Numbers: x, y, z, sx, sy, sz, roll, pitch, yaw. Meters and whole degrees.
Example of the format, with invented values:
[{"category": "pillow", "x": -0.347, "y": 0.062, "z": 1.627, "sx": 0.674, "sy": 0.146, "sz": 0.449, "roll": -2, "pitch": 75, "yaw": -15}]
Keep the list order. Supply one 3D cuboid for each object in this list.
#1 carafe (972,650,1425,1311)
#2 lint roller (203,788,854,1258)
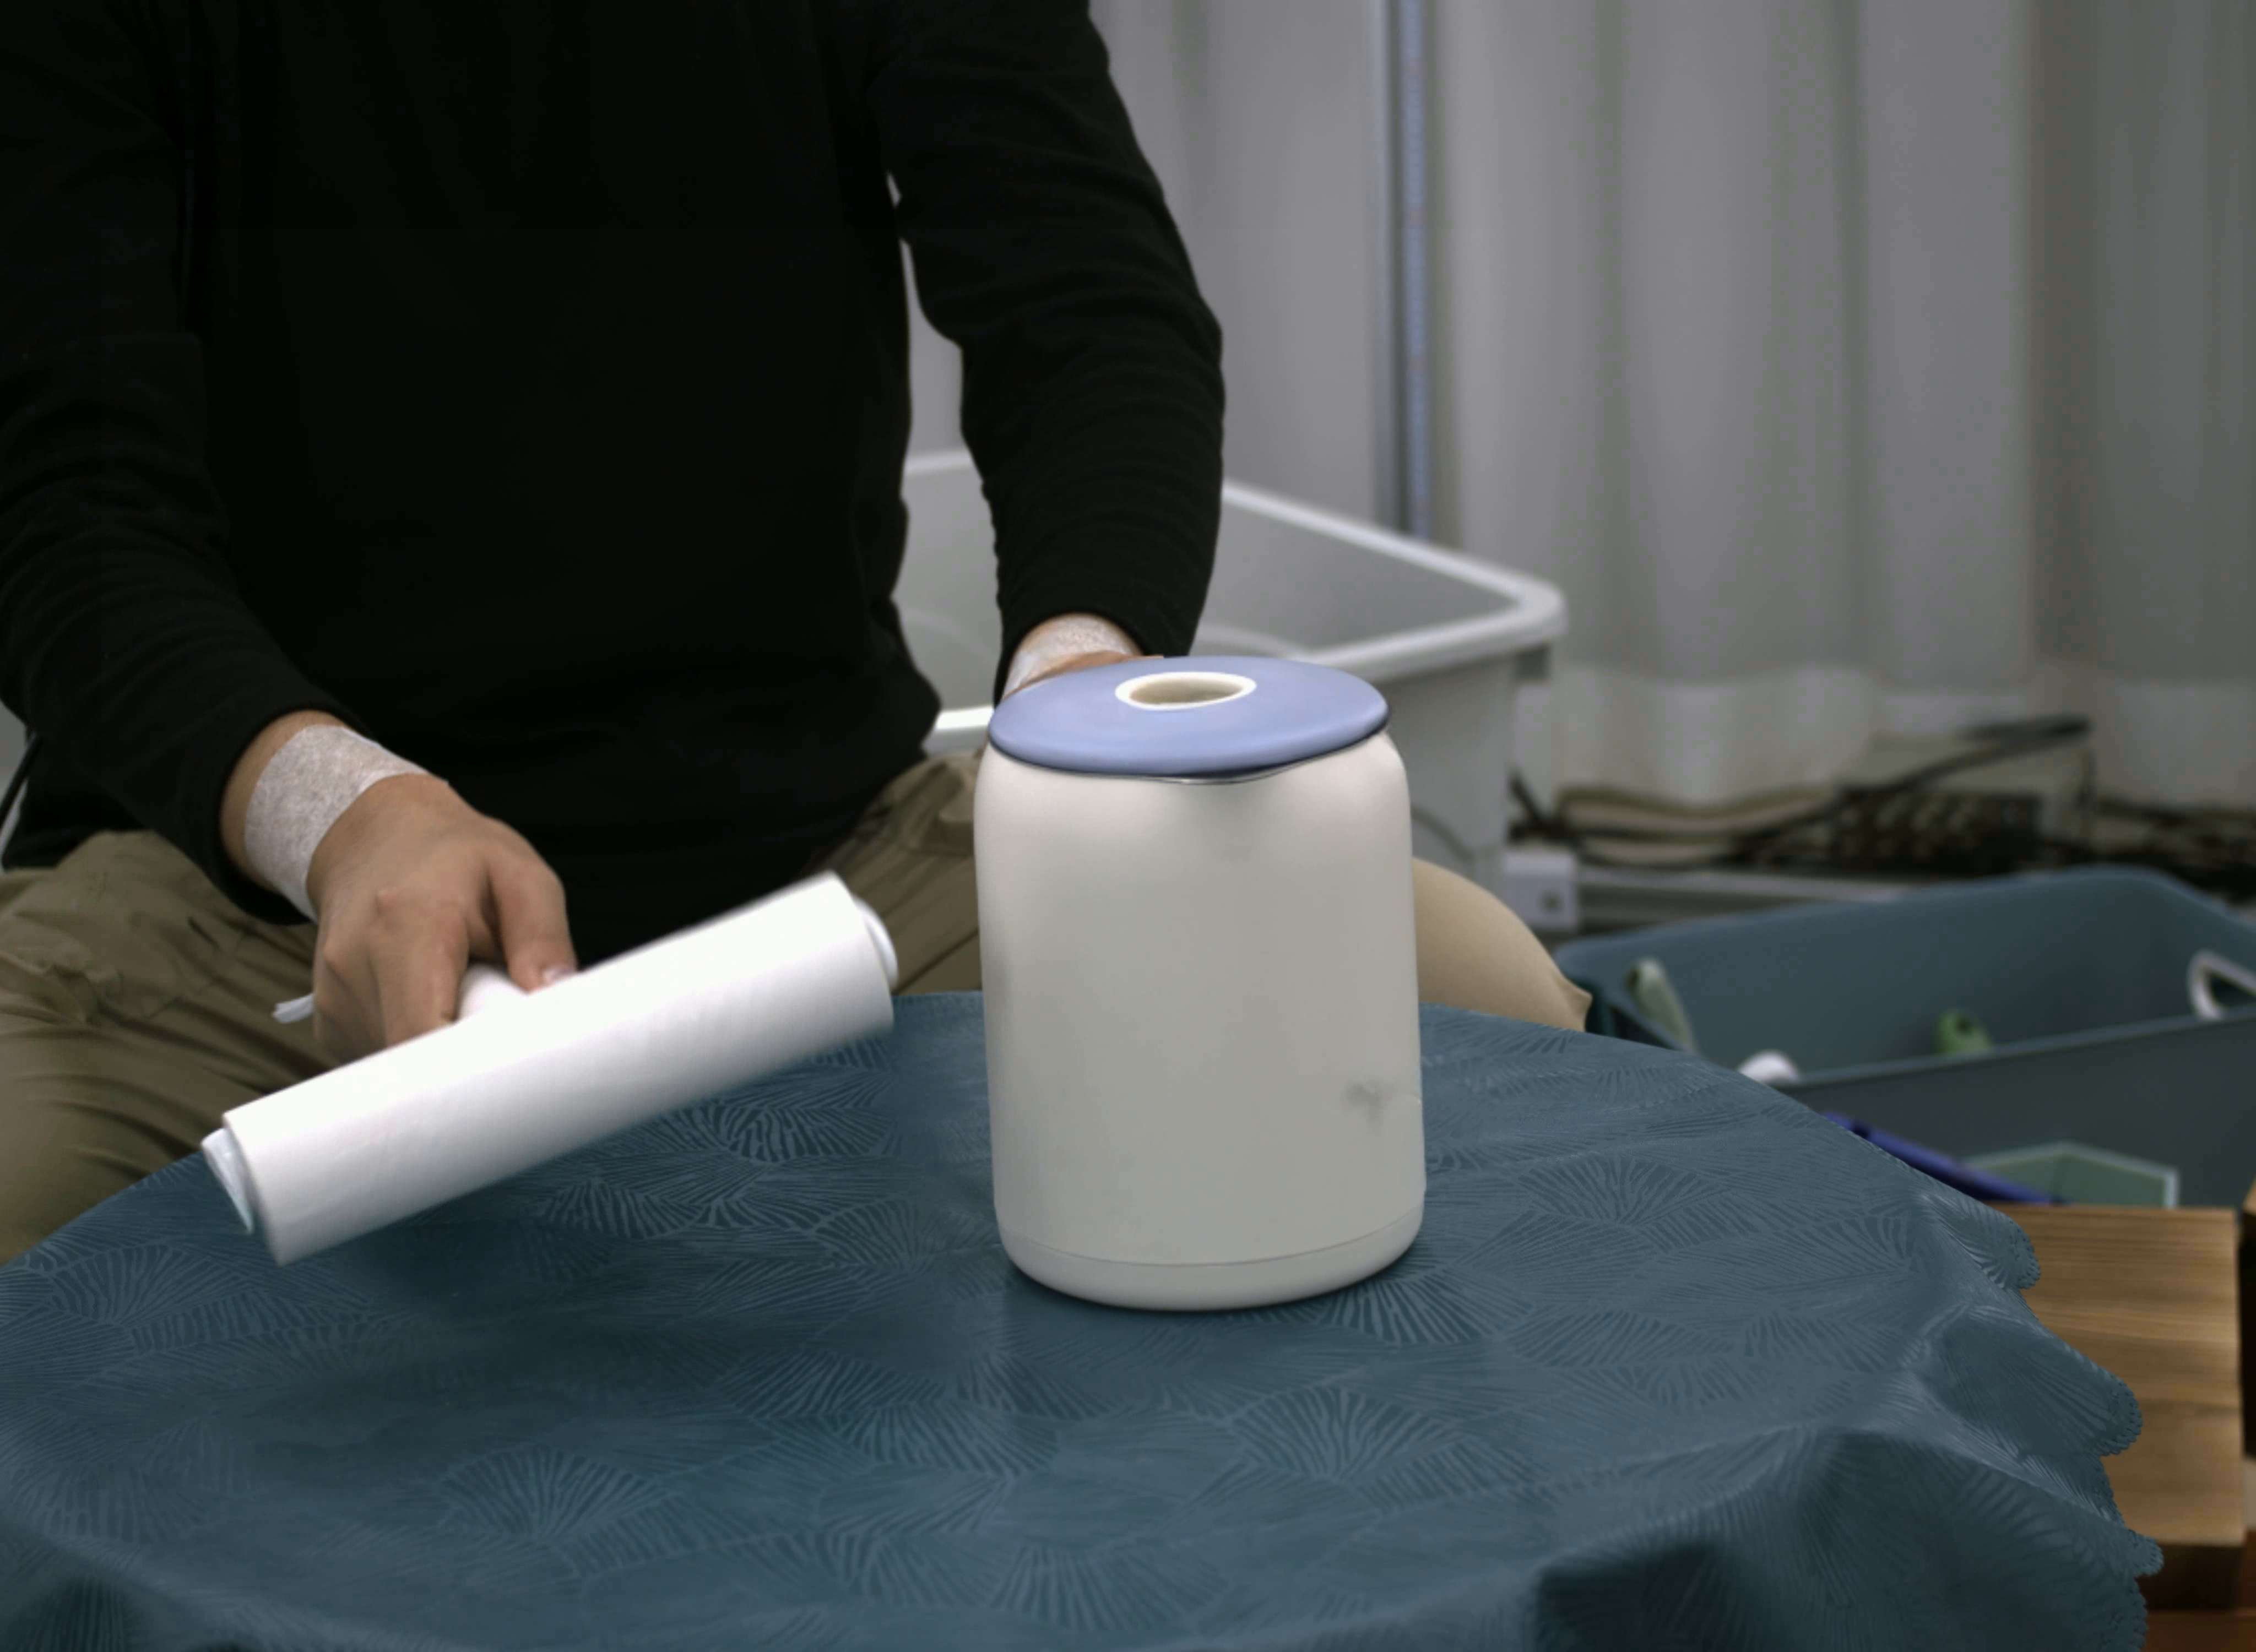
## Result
[{"category": "carafe", "x": 0.016, "y": 0.040, "z": 1.662, "sx": 0.131, "sy": 0.182, "sz": 0.192, "roll": -5, "pitch": 12, "yaw": -11}, {"category": "lint roller", "x": -0.189, "y": 0.062, "z": 1.657, "sx": 0.203, "sy": 0.048, "sz": 0.225, "roll": -31, "pitch": 3, "yaw": -13}]
